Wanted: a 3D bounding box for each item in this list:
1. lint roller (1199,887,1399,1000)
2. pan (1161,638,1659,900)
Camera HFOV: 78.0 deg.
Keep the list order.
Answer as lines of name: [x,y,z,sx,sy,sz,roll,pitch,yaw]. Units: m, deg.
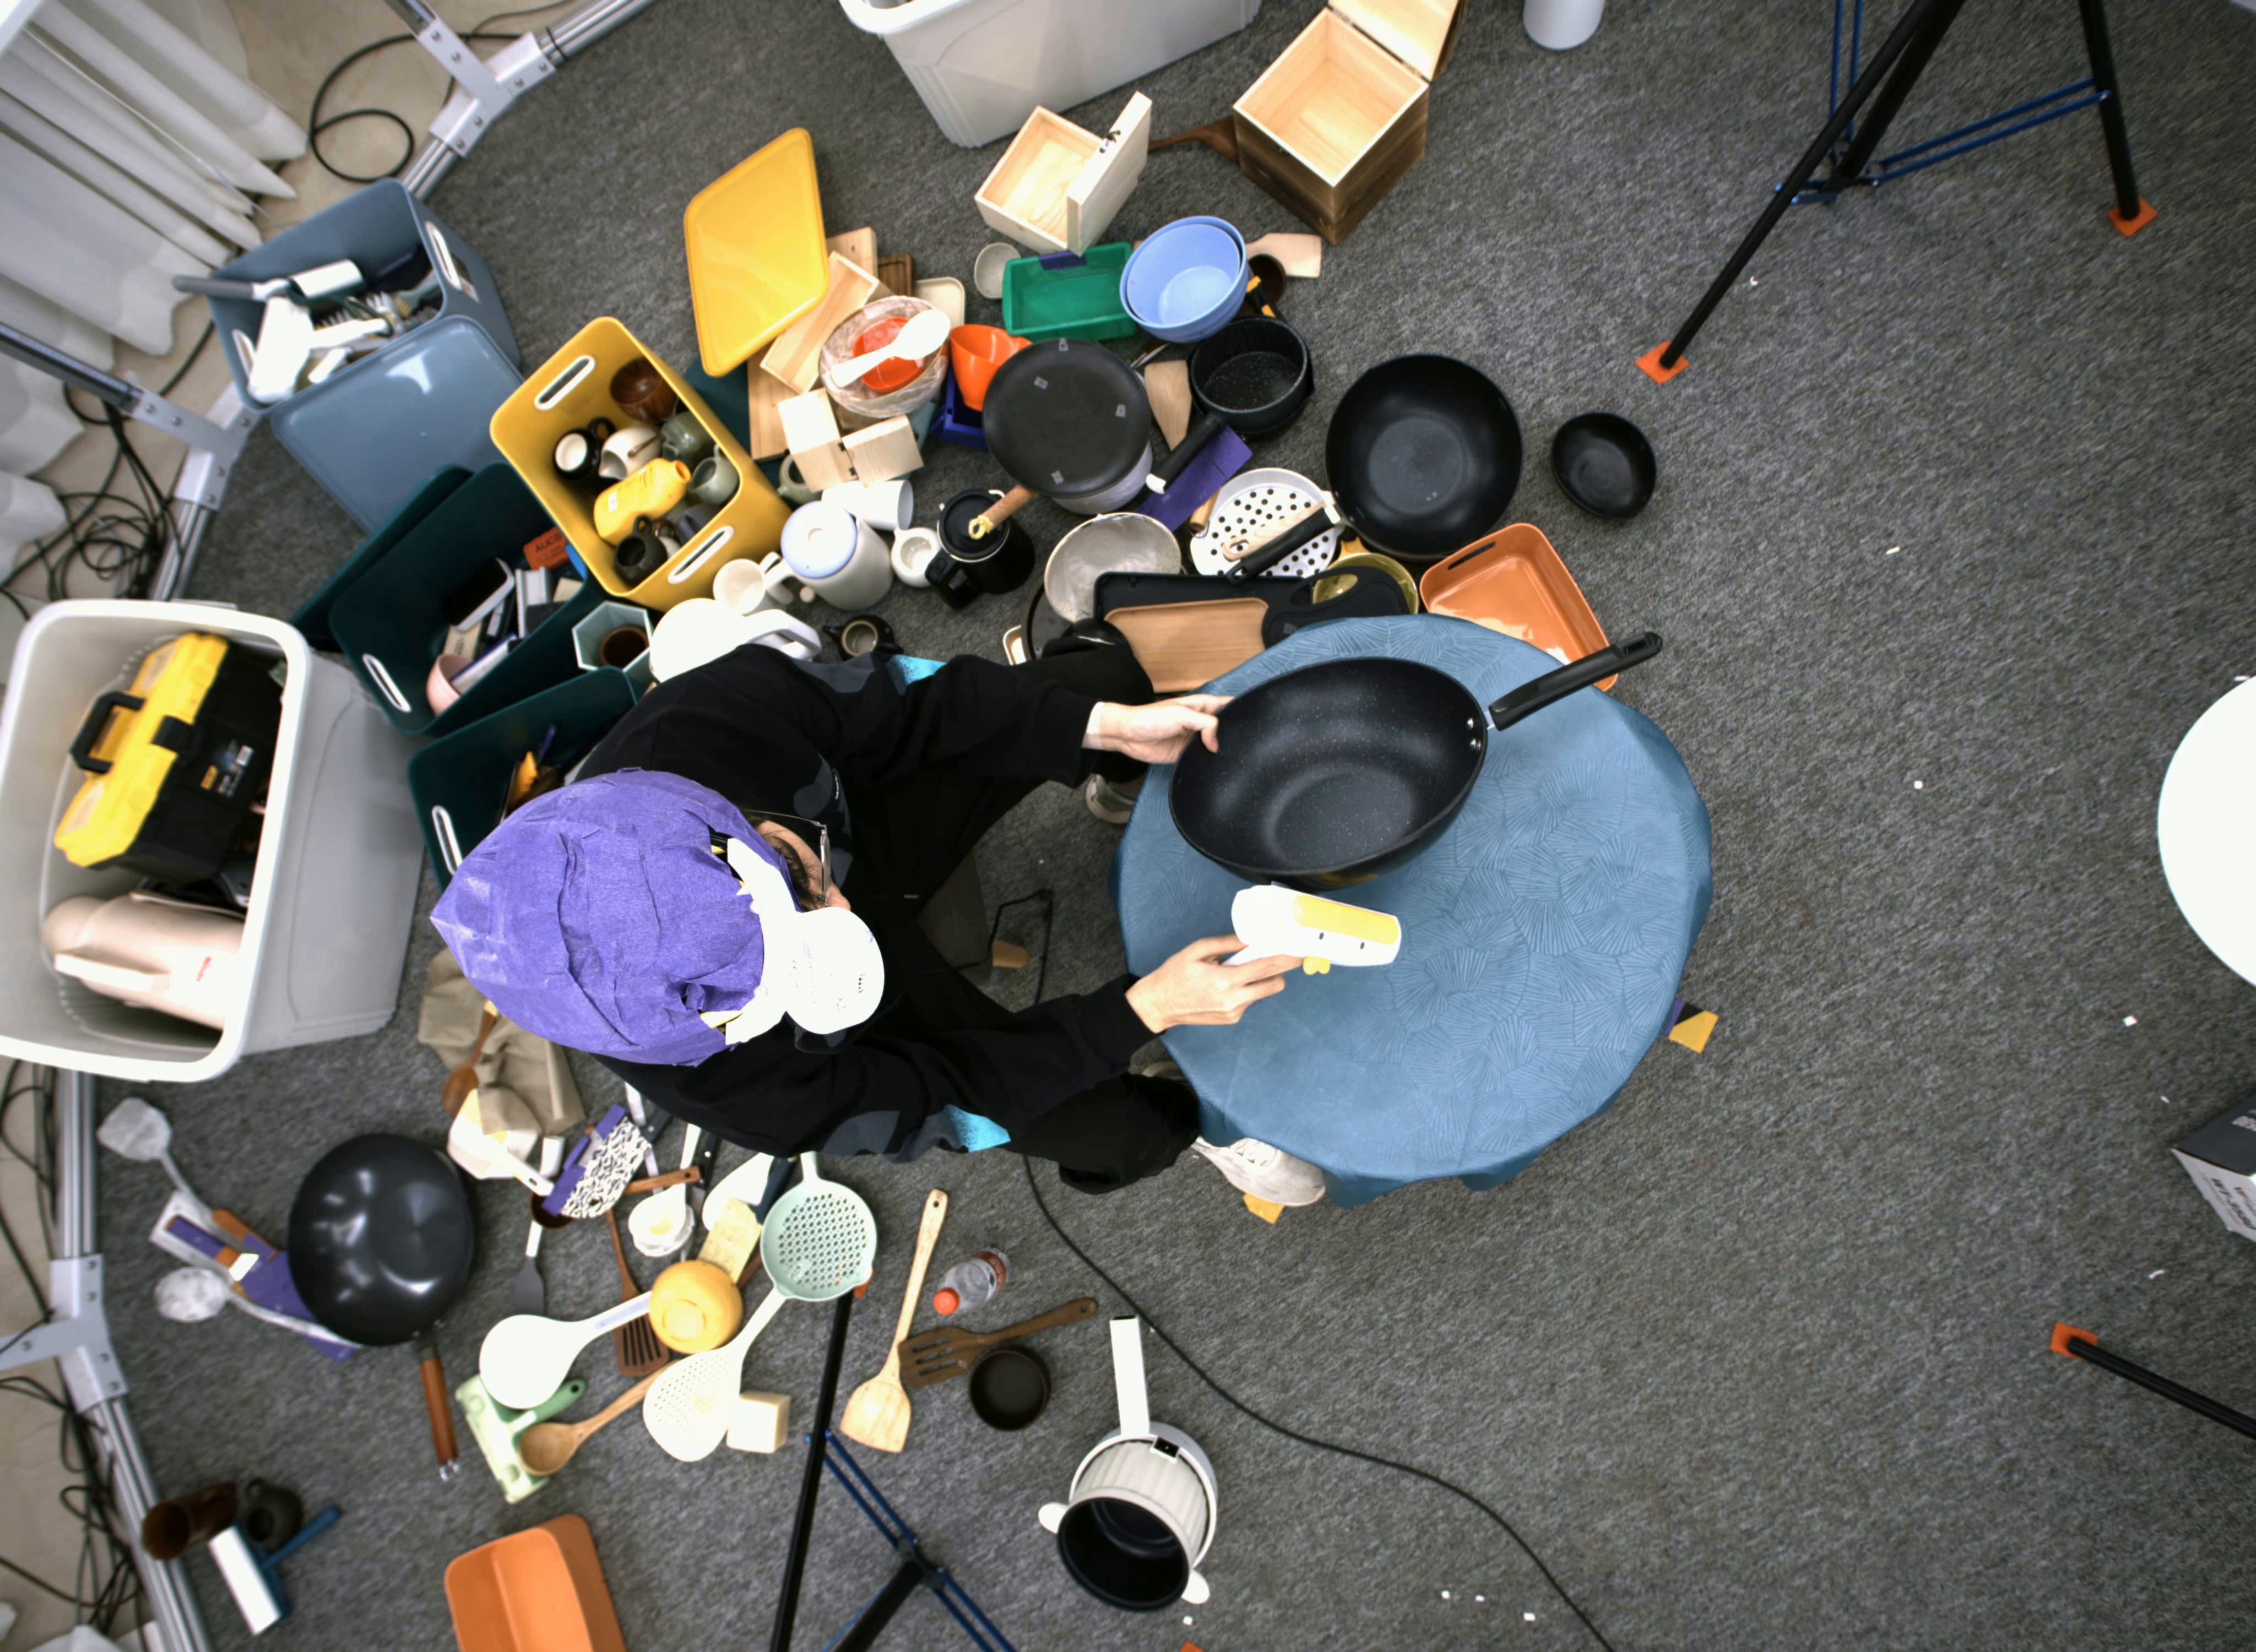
lint roller: [0.134,0.116,1.308,0.196,0.192,0.073,-25,65,48]
pan: [0.266,-0.065,1.306,0.480,0.114,0.302,-16,42,12]
